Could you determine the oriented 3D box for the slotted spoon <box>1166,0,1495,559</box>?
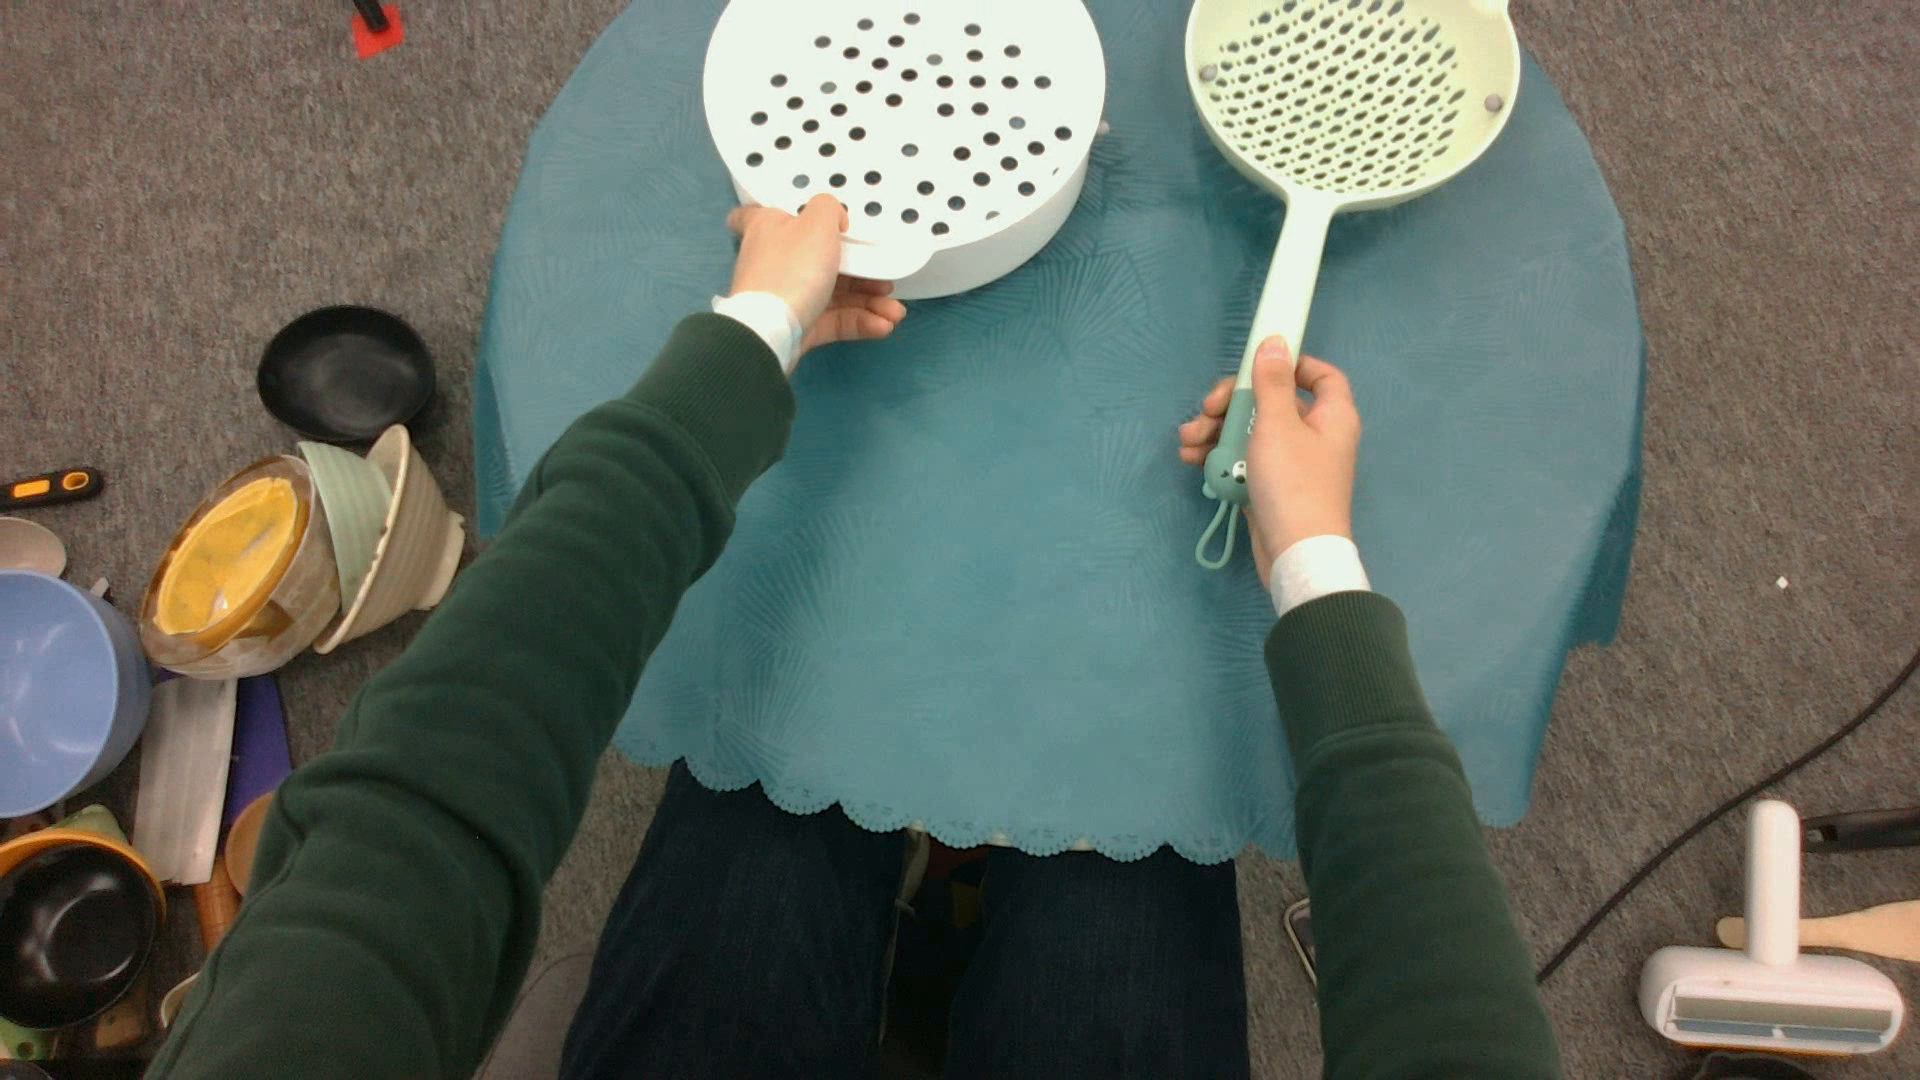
[{"bbox_3d":[0.163,-0.161,0.693,0.169,0.075,0.360,15,65,7],"label":"slotted spoon"}]

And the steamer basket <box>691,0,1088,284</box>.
[{"bbox_3d":[-0.035,-0.231,0.726,0.202,0.069,0.231,10,71,5],"label":"steamer basket"}]
